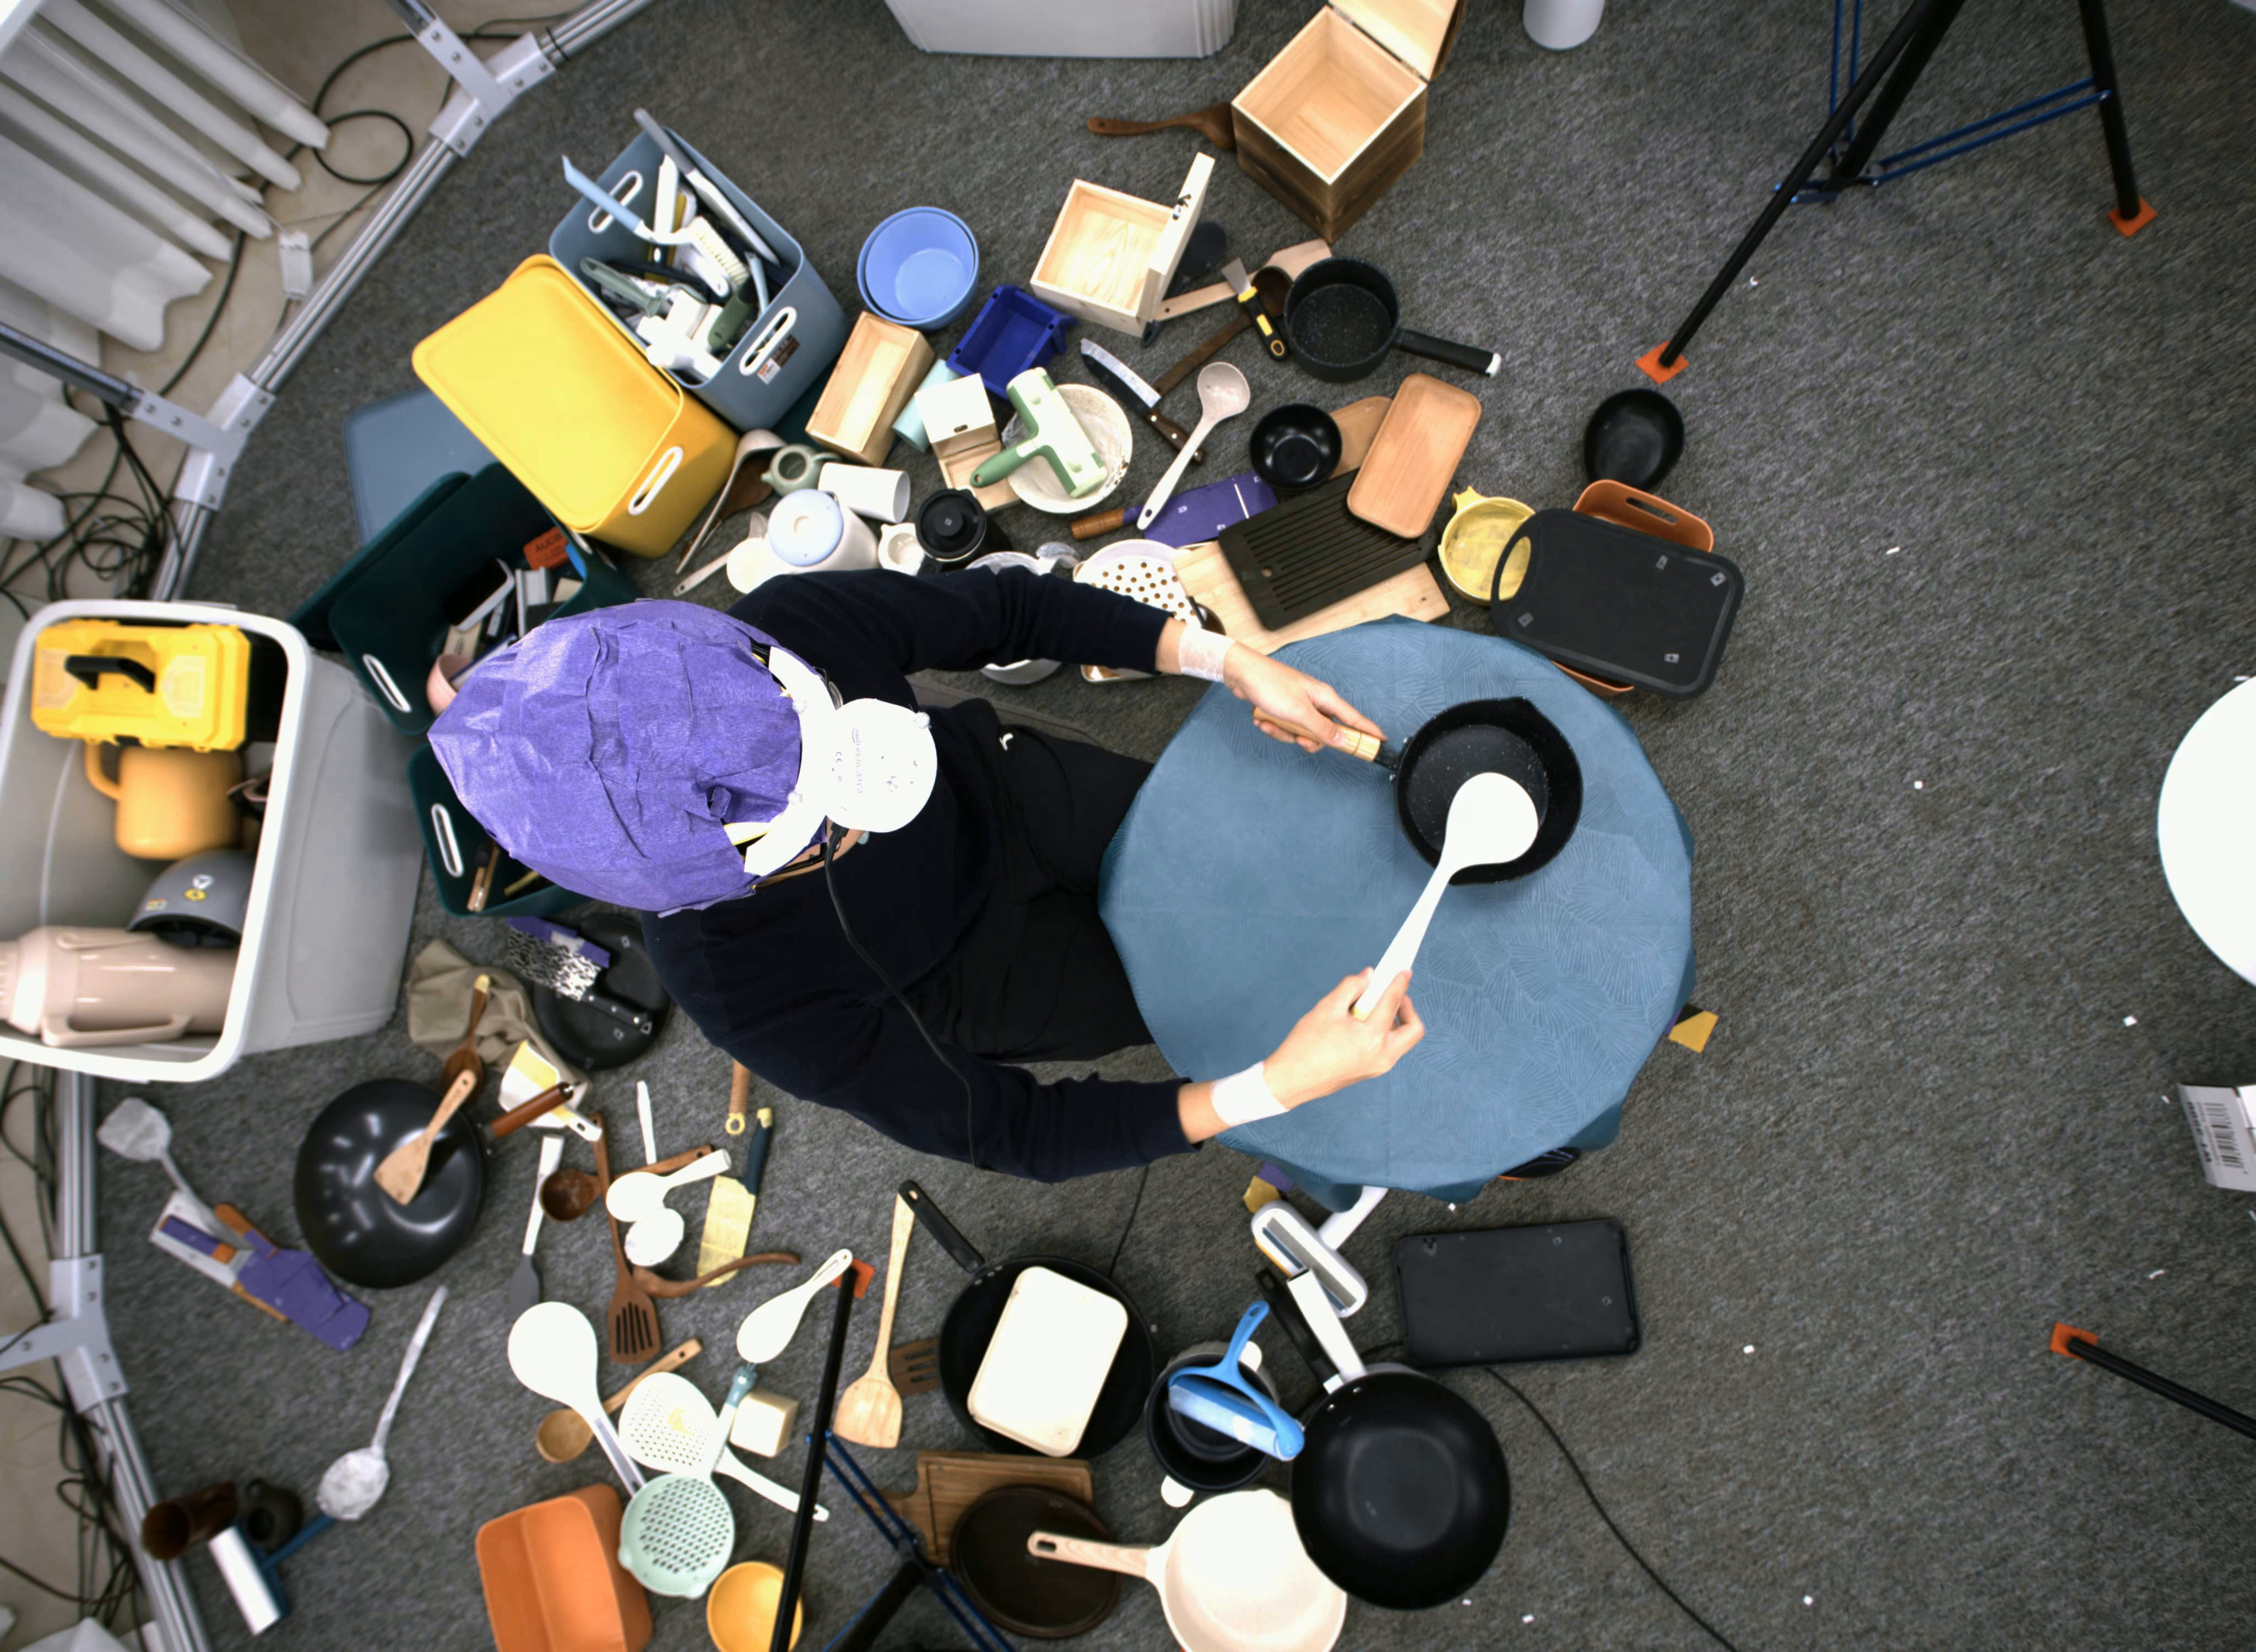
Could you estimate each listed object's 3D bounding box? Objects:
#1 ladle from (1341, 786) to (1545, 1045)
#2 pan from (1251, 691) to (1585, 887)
[{"bbox_3d":[0.289,0.080,1.260,0.091,0.071,0.287,50,60,-20],"label":"ladle"},{"bbox_3d":[0.287,-0.062,1.396,0.343,0.108,0.208,19,95,5],"label":"pan"}]
